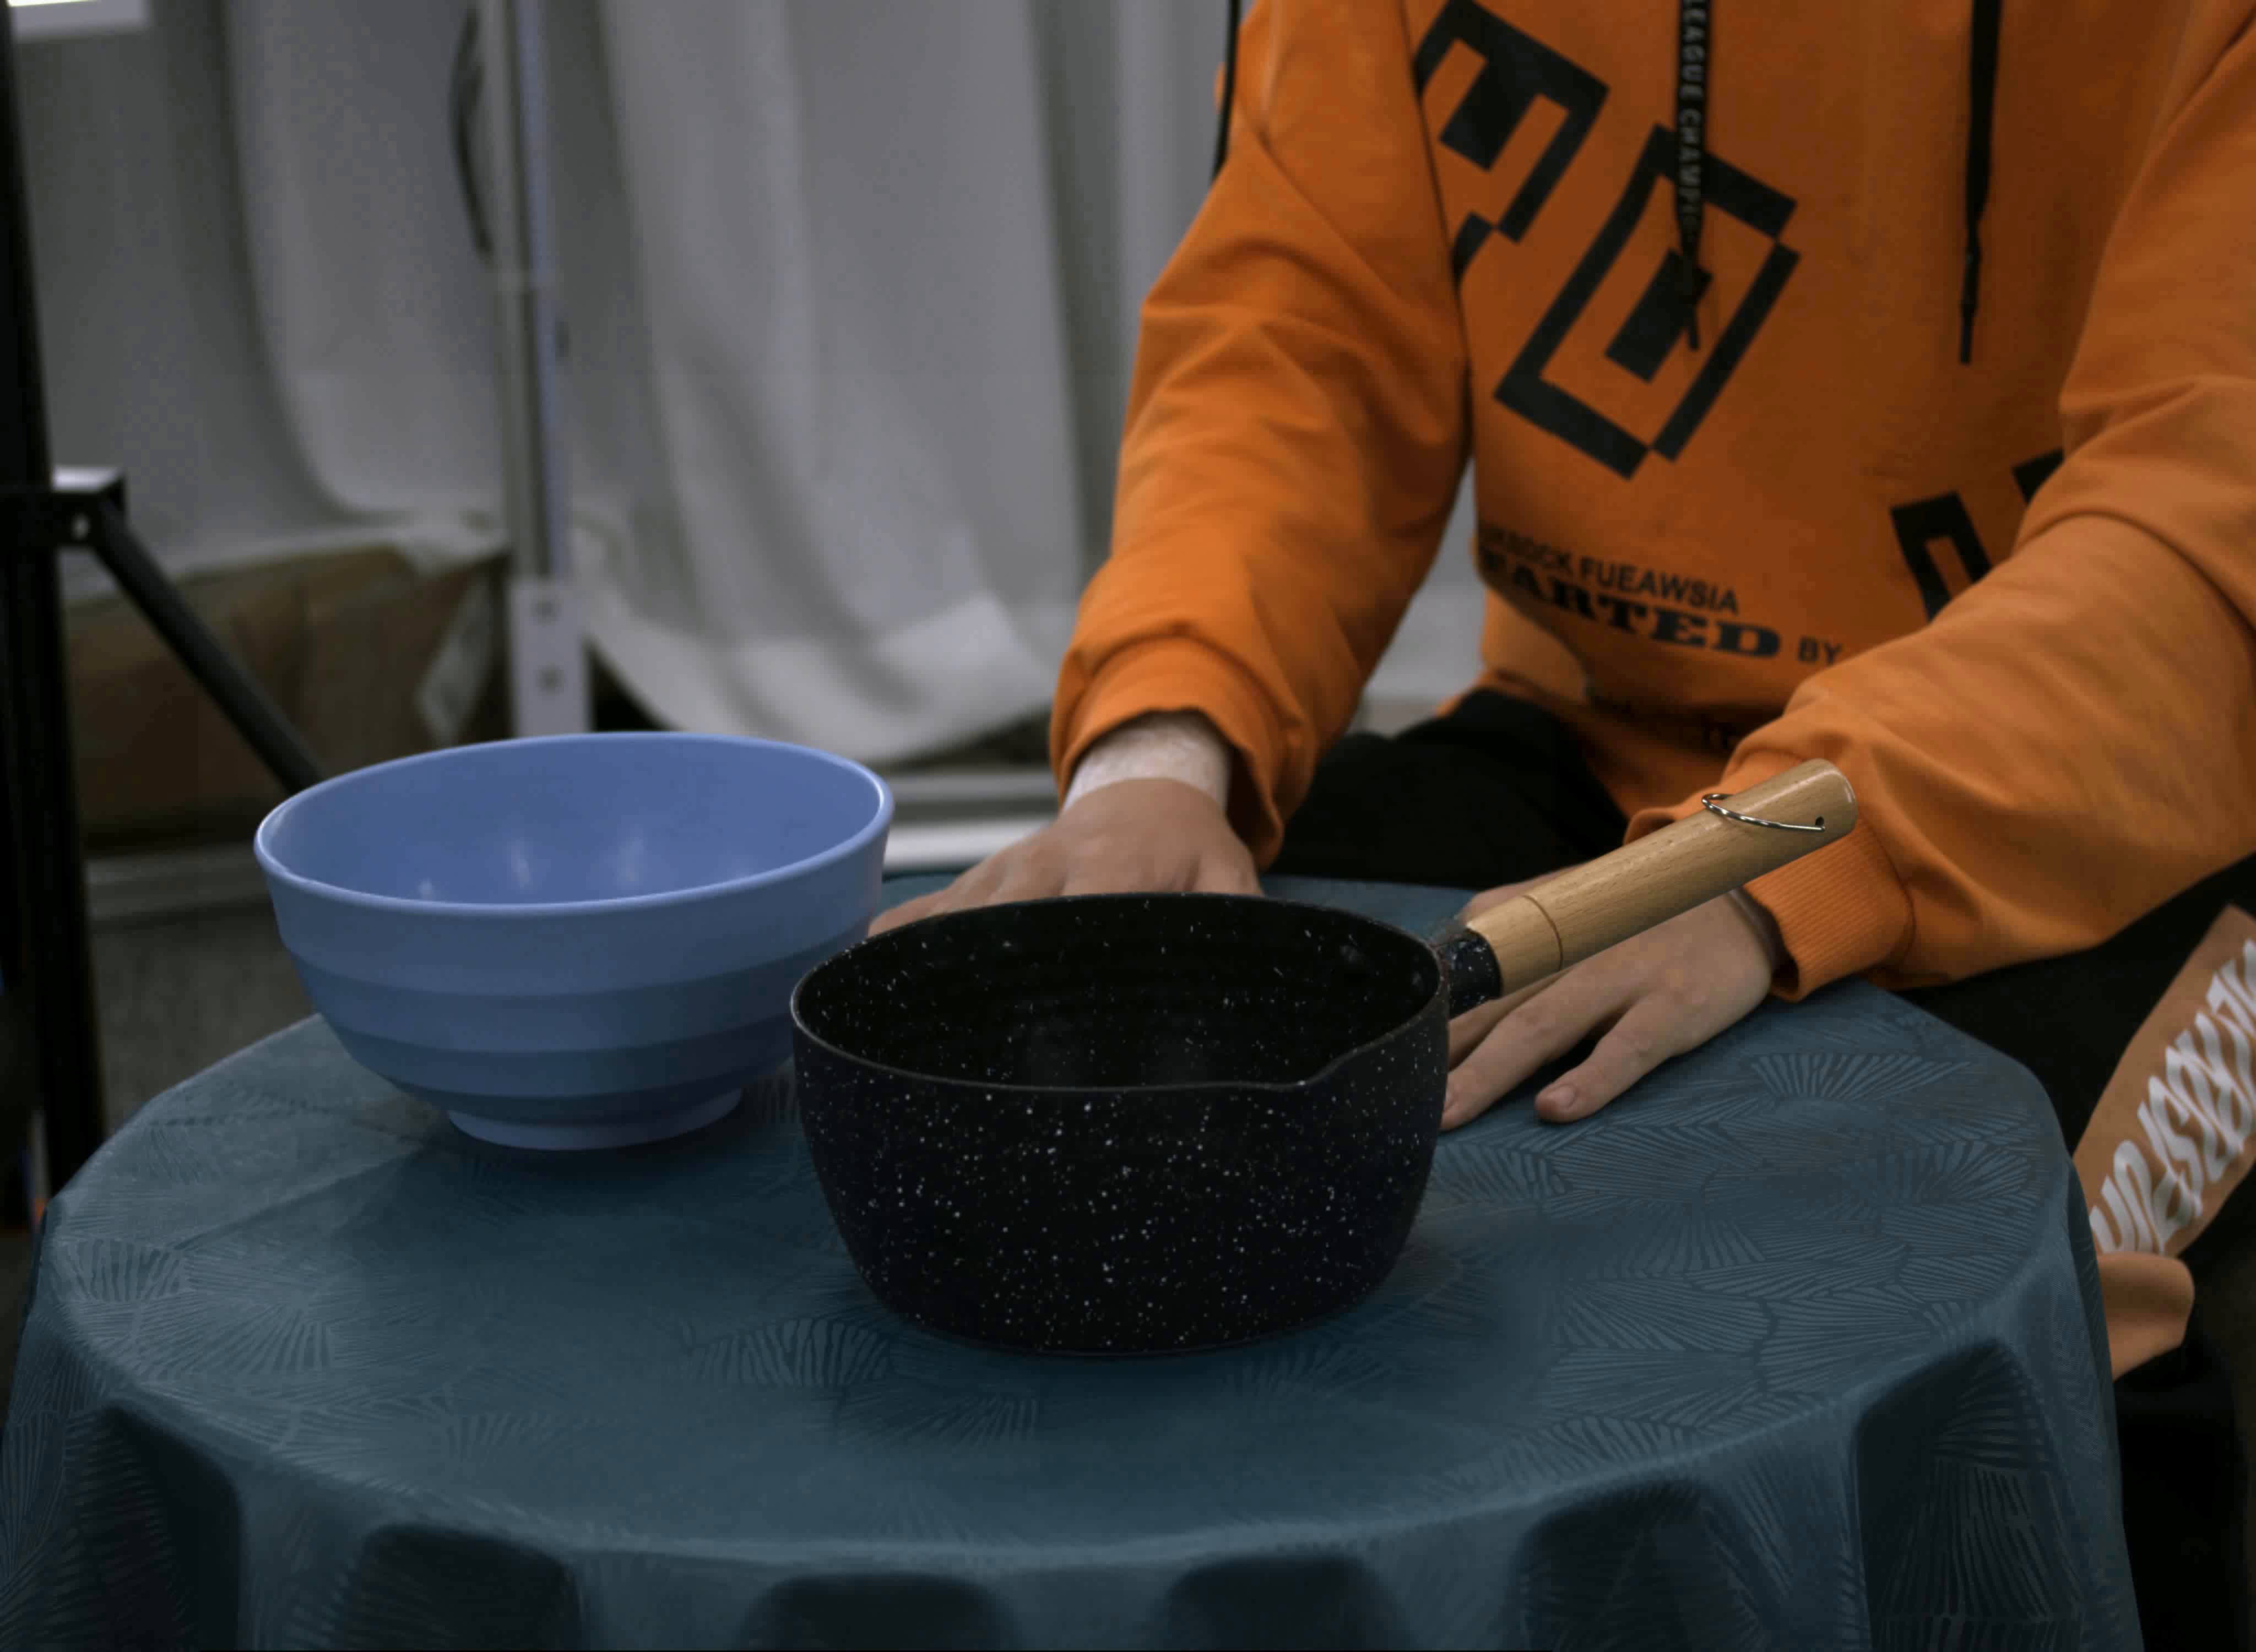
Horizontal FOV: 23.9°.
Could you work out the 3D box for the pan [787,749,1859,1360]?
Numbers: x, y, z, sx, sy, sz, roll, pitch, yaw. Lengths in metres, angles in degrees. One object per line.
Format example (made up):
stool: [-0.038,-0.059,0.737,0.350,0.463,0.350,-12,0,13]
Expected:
pan: [0.067,0.060,1.519,0.335,0.108,0.212,-12,17,-27]

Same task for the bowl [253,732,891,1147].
bowl: [-0.168,0.040,1.650,0.195,0.095,0.197,-4,15,0]
